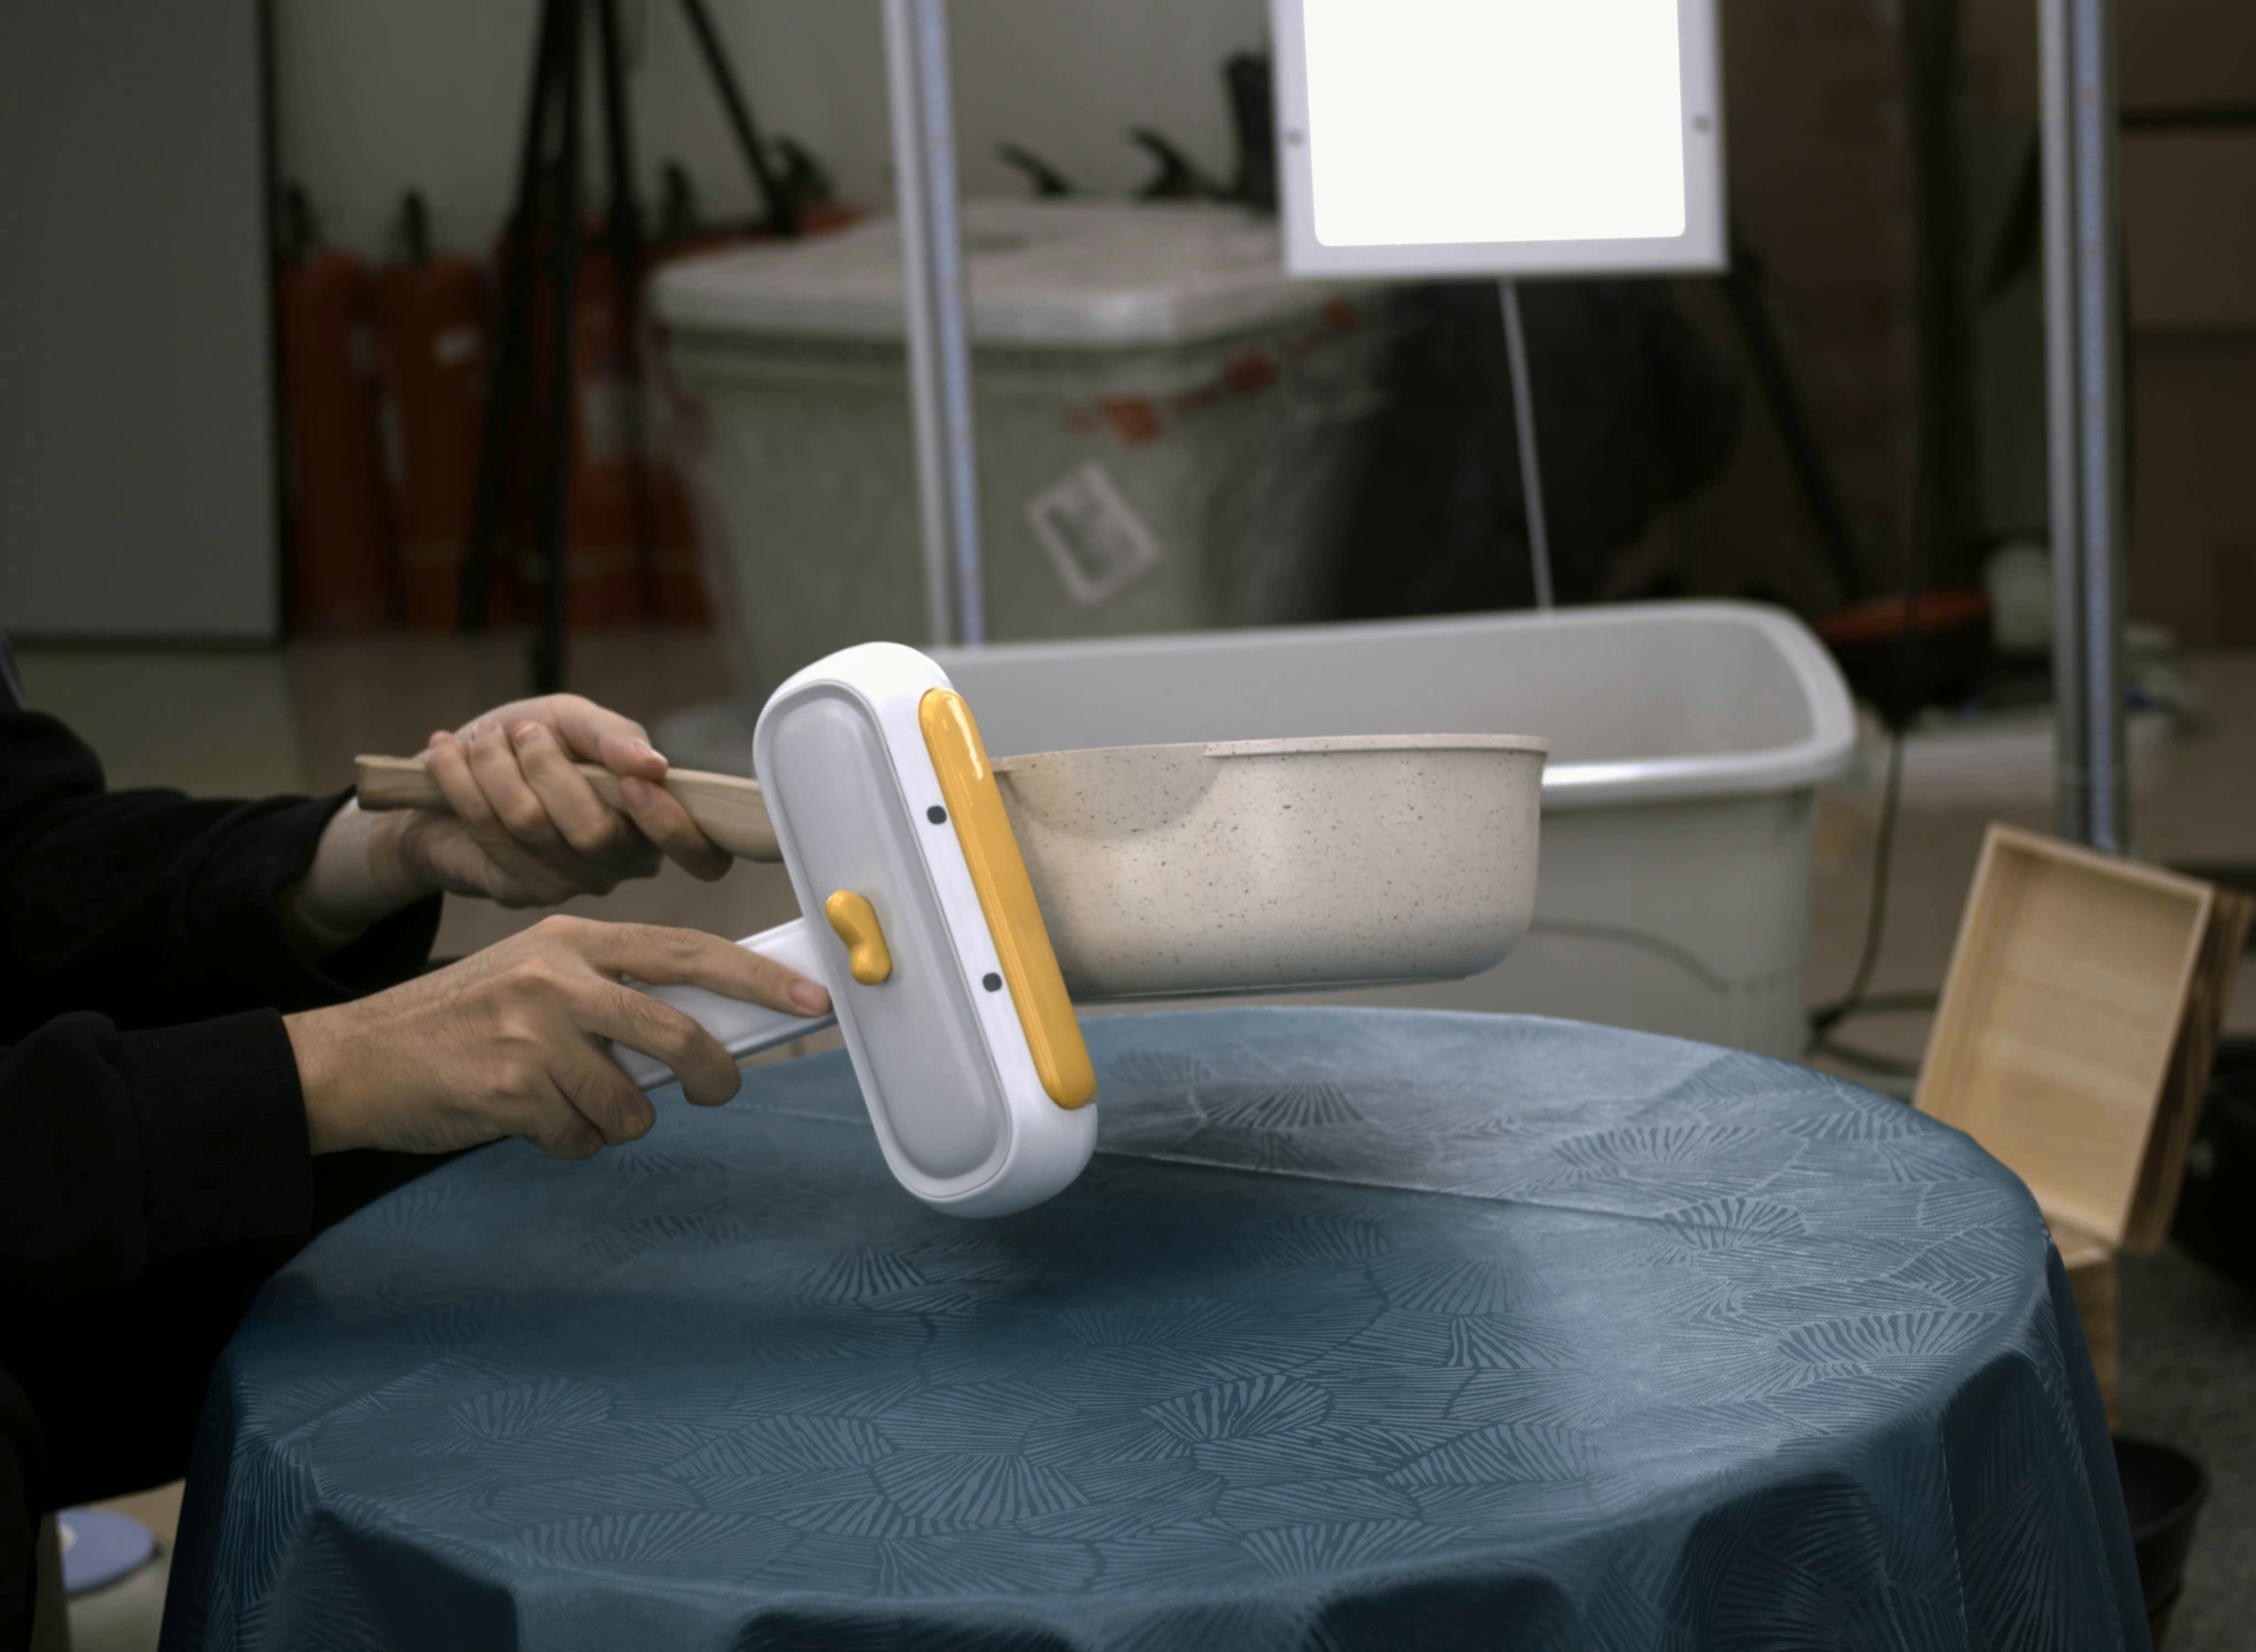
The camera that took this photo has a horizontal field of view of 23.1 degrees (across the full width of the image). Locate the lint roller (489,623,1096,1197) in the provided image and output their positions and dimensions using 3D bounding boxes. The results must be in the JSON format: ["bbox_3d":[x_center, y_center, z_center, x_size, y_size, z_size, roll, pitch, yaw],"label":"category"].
[{"bbox_3d":[-0.121,0.052,1.816,0.195,0.193,0.073,-26,-4,25],"label":"lint roller"}]

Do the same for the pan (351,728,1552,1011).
[{"bbox_3d":[-0.064,0.016,1.939,0.439,0.102,0.260,-4,0,15],"label":"pan"}]
